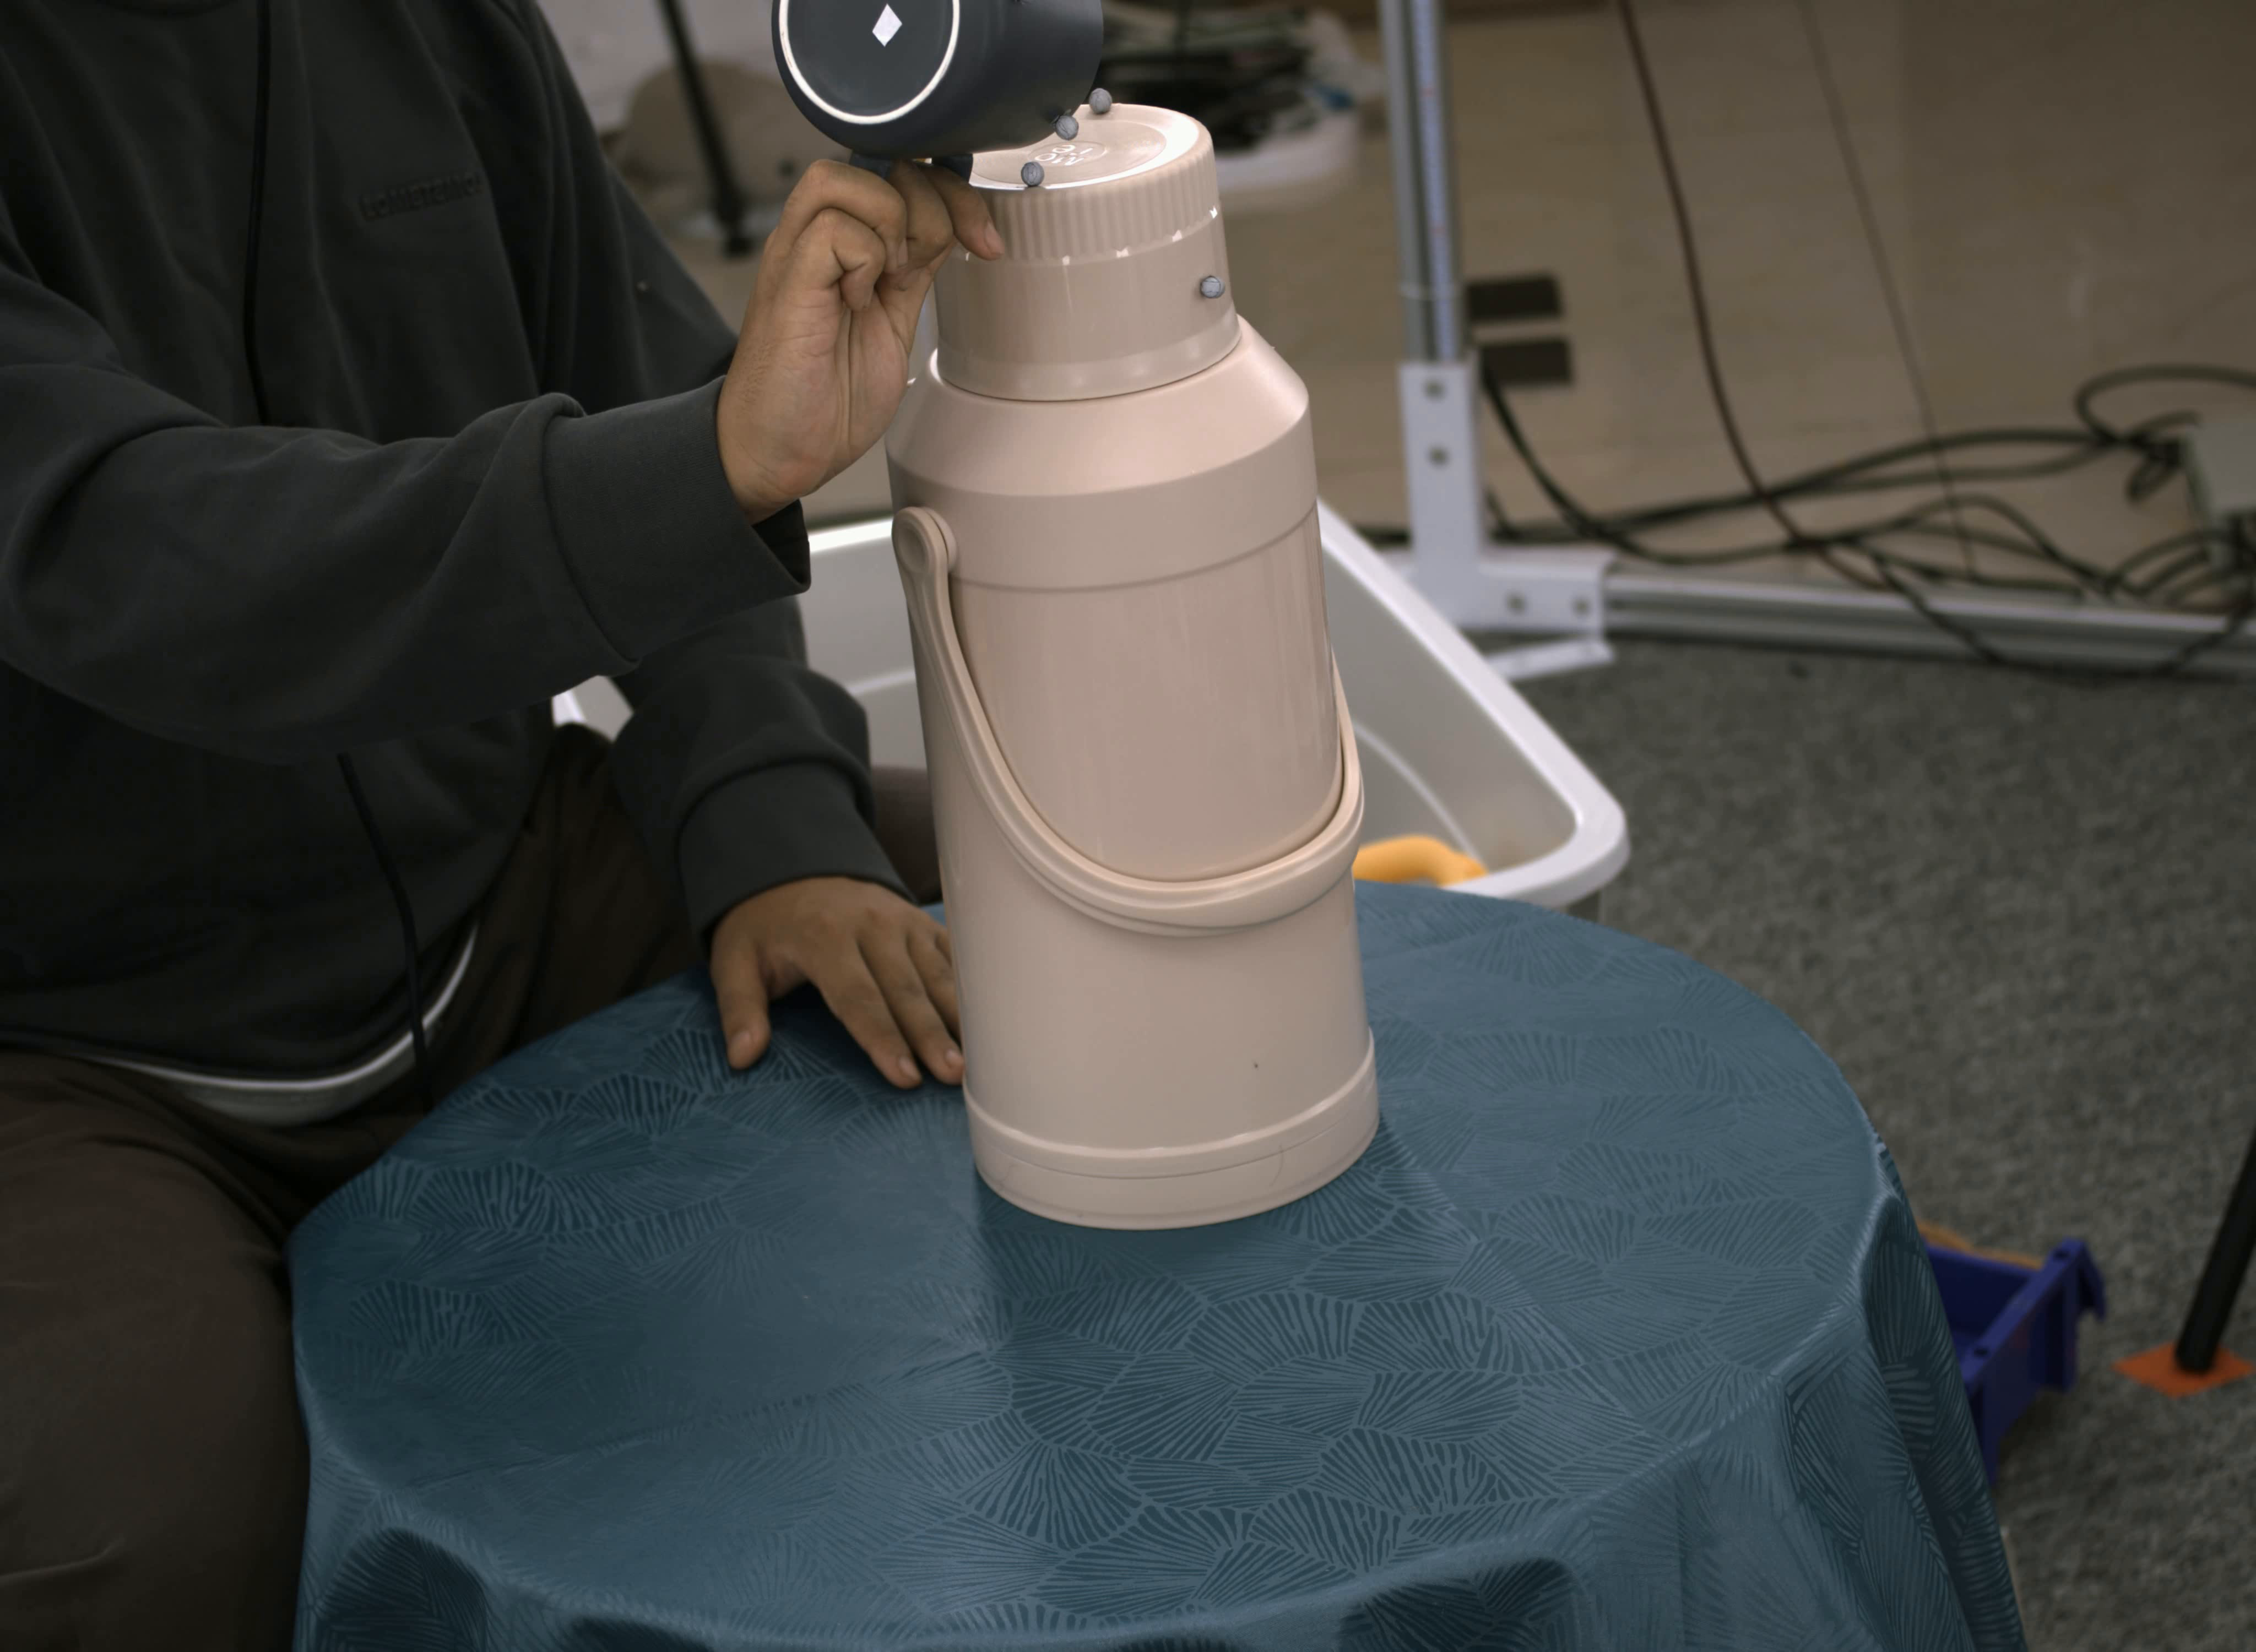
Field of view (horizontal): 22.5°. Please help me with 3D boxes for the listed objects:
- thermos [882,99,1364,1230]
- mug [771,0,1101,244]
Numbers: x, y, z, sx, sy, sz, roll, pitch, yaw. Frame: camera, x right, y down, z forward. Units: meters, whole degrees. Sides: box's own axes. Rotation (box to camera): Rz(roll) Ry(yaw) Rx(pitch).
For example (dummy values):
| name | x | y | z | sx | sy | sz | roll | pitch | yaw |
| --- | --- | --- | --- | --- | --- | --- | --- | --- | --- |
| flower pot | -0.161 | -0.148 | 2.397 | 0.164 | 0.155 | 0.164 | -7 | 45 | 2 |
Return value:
| name | x | y | z | sx | sy | sz | roll | pitch | yaw |
| --- | --- | --- | --- | --- | --- | --- | --- | --- | --- |
| thermos | -0.012 | -0.065 | 2.112 | 0.174 | 0.413 | 0.205 | -24 | 31 | -32 |
| mug | -0.068 | -0.261 | 1.939 | 0.093 | 0.124 | 0.089 | 18 | 13 | 28 |
